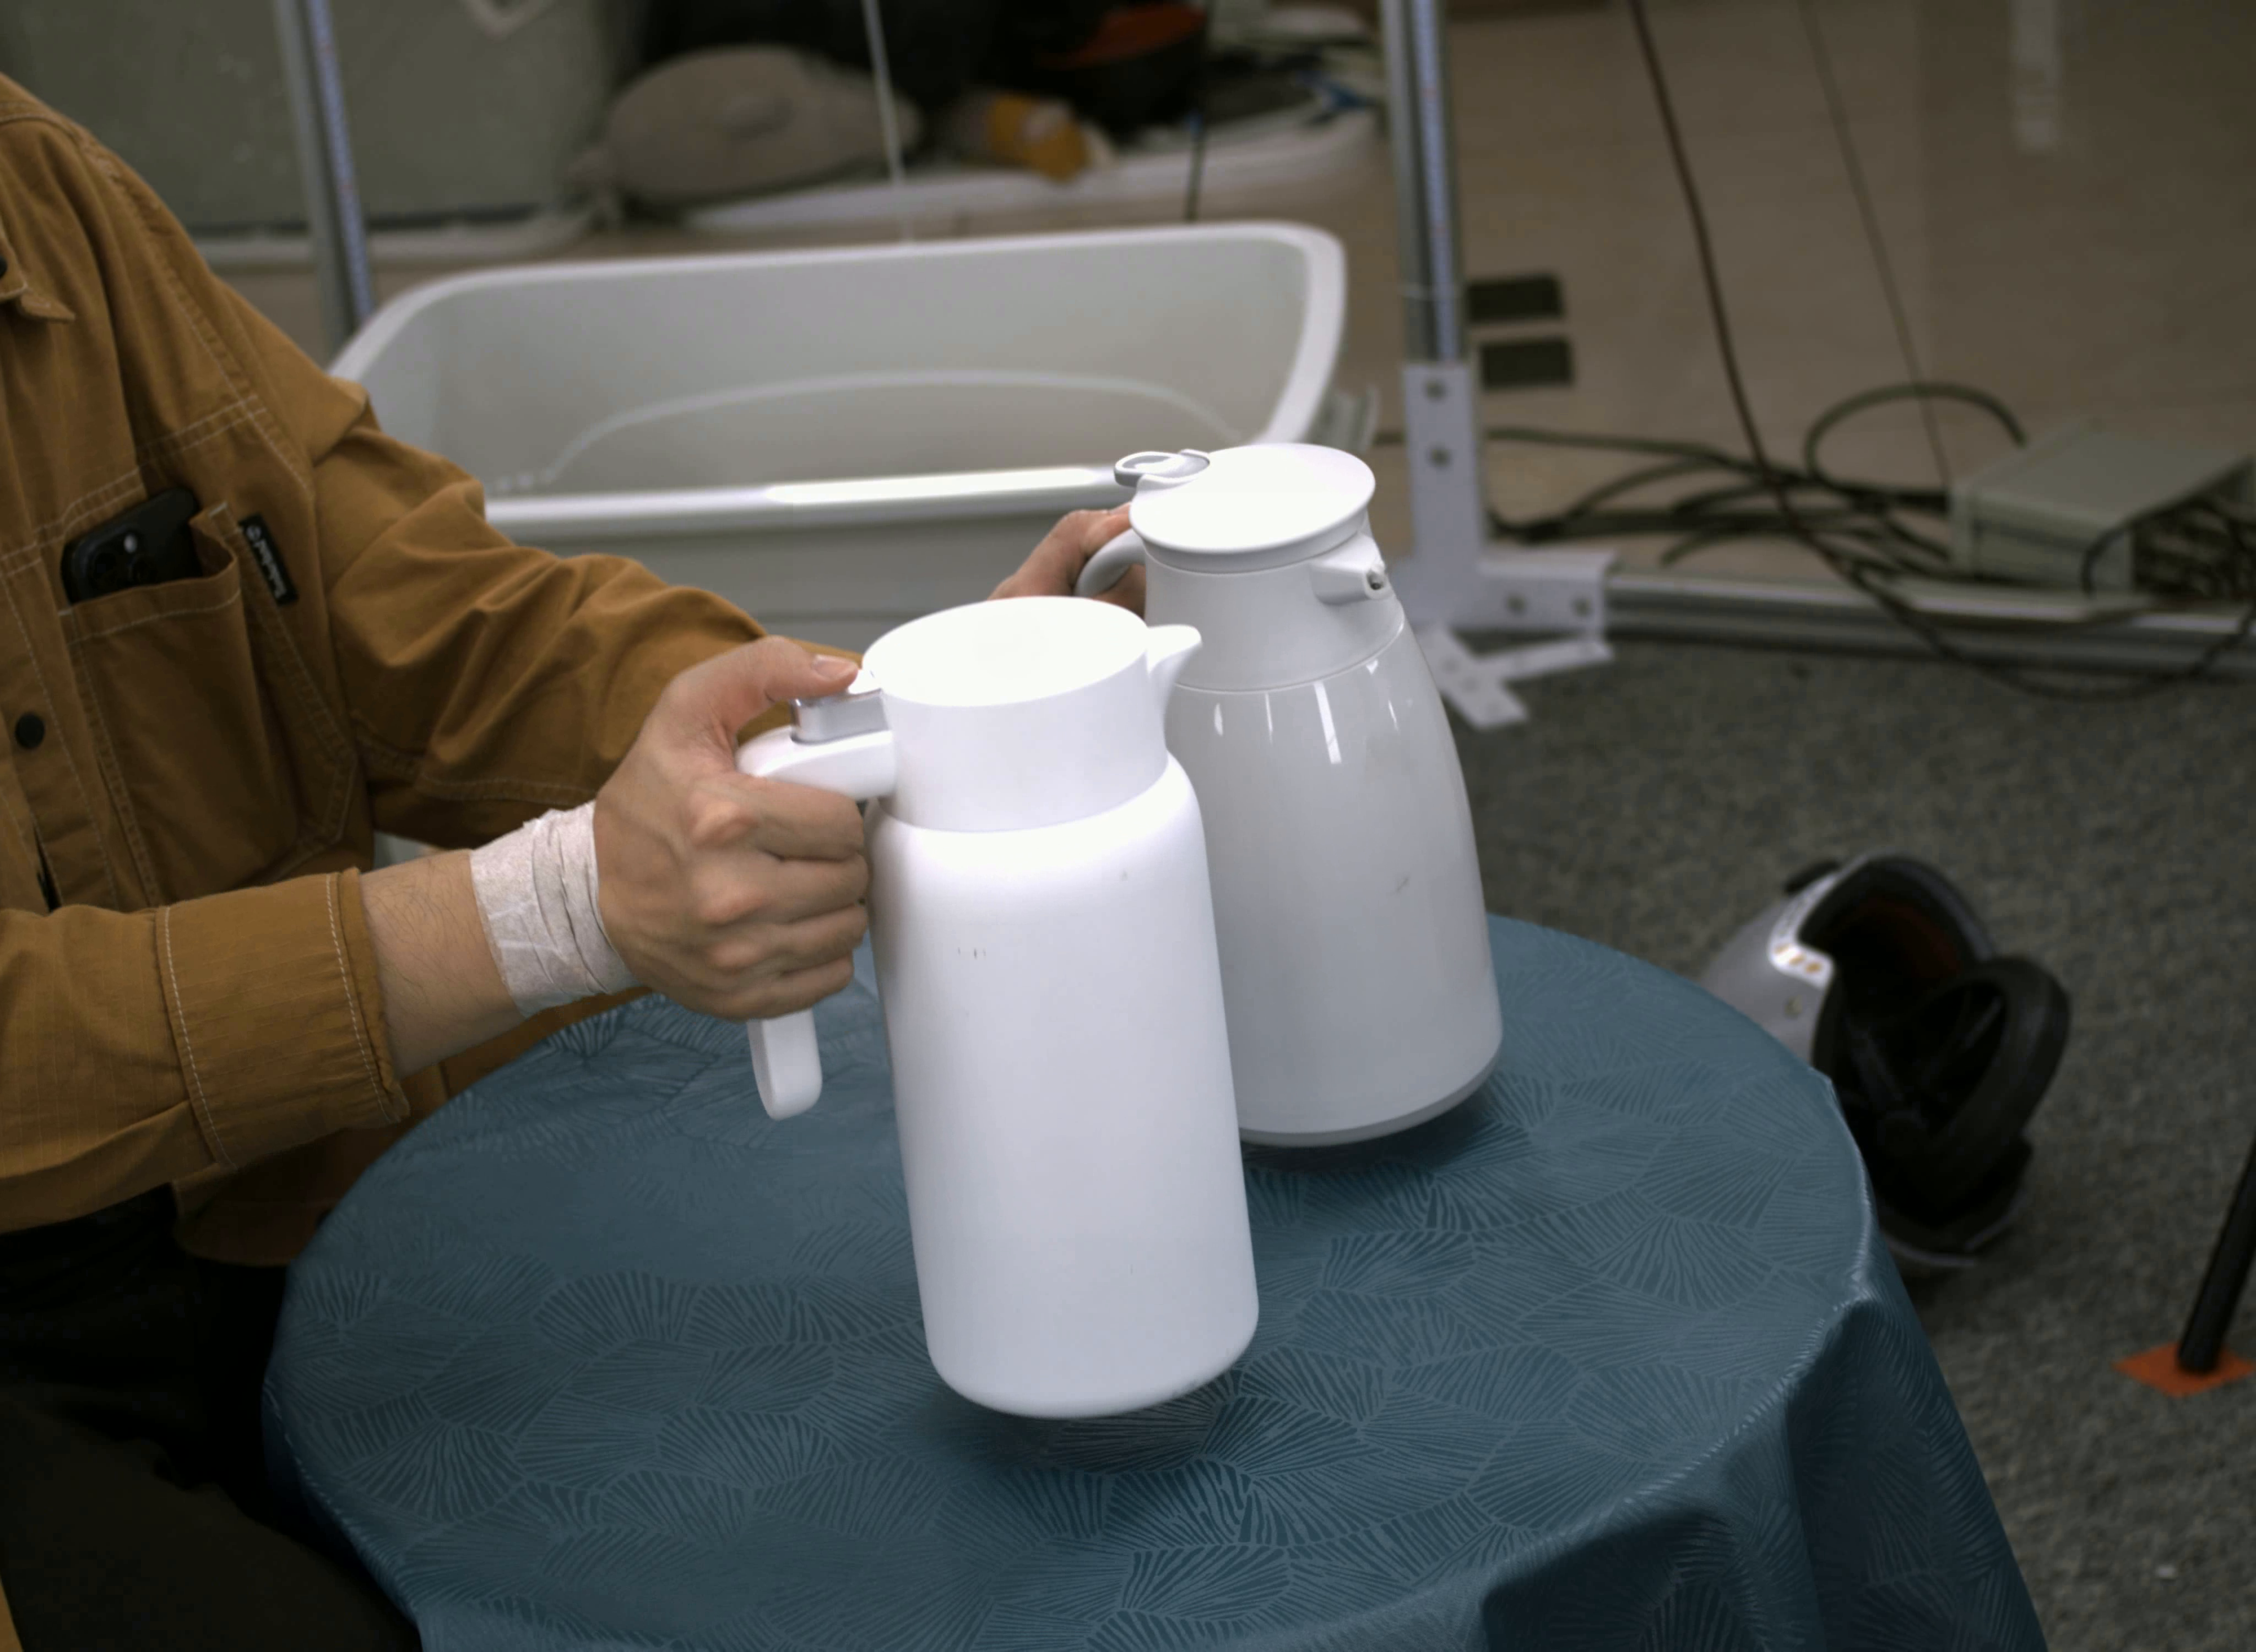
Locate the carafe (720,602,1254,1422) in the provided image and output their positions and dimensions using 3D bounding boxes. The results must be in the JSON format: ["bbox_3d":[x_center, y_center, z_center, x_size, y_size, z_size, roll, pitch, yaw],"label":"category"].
[{"bbox_3d":[-0.042,0.067,1.937,0.172,0.273,0.122,-13,26,-14],"label":"carafe"}]

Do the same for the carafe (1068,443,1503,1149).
[{"bbox_3d":[0.047,-0.021,2.136,0.166,0.253,0.131,16,37,40],"label":"carafe"}]
